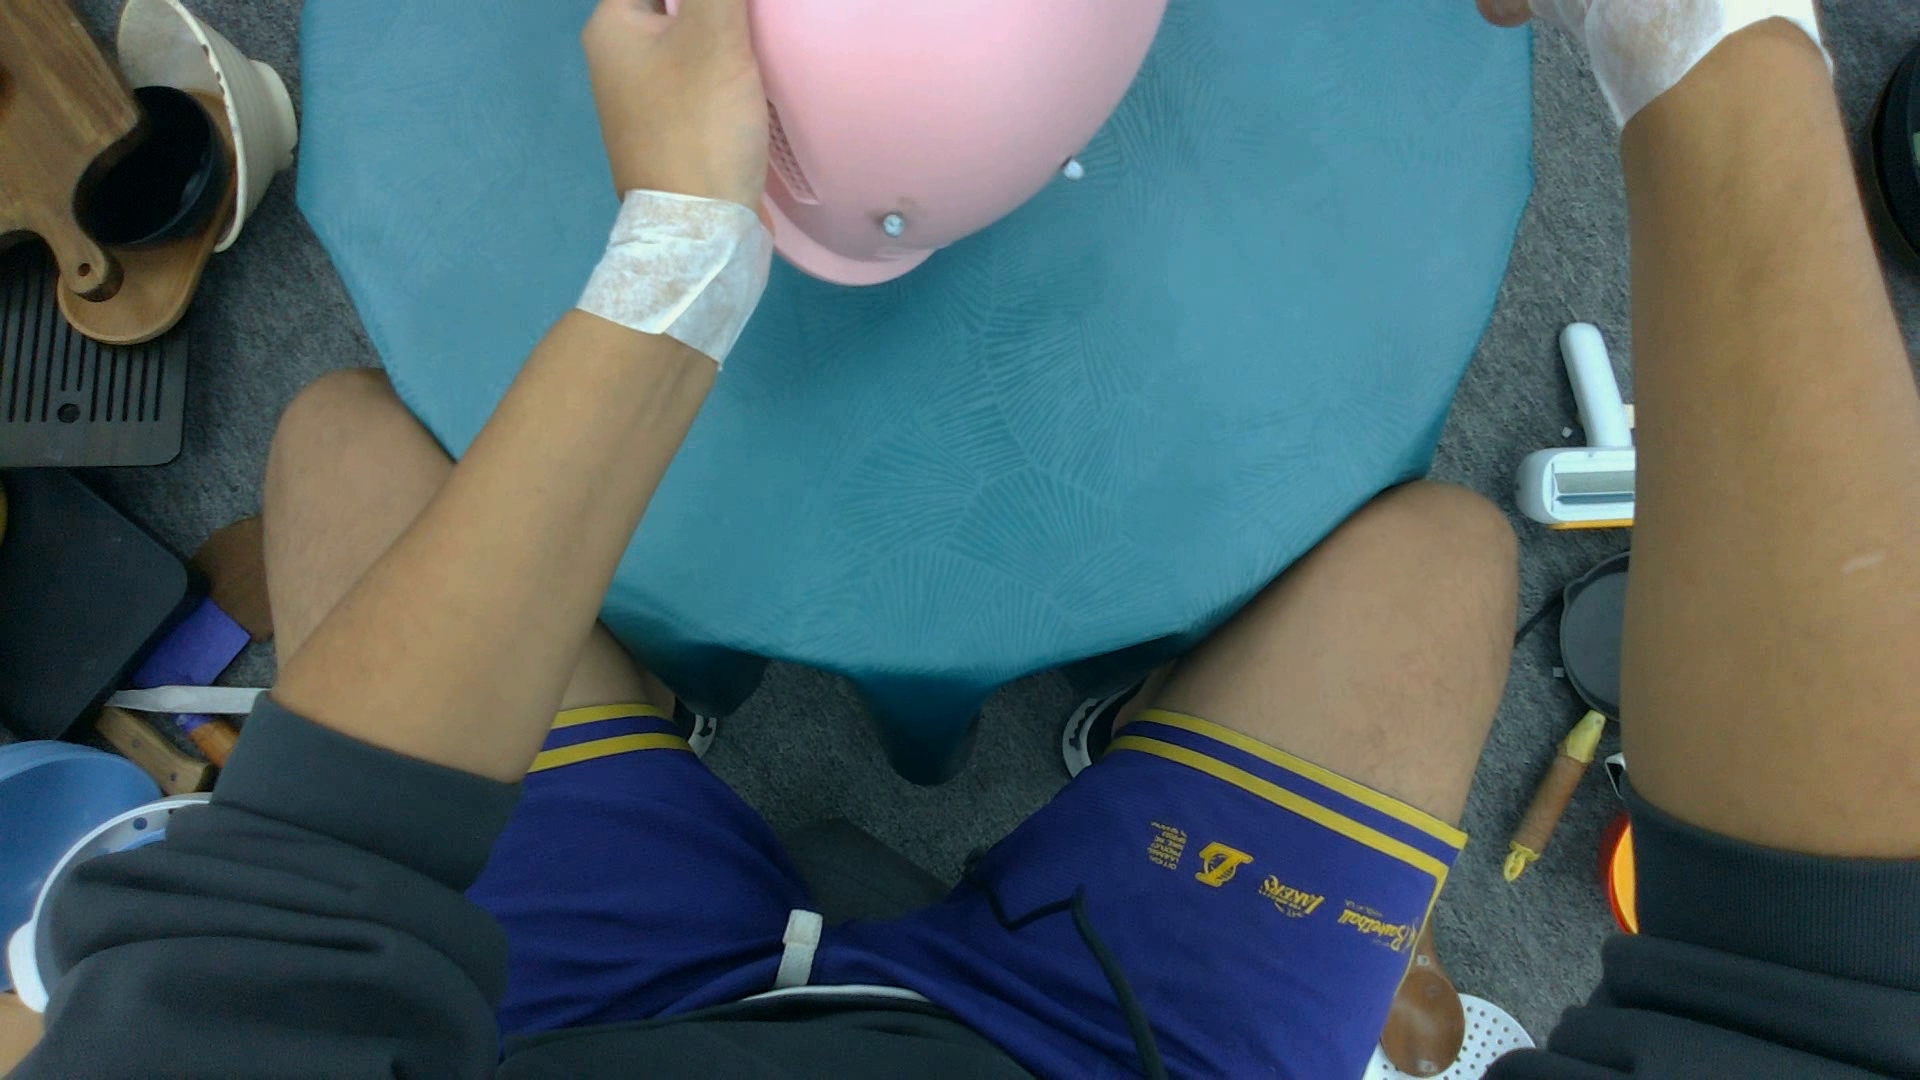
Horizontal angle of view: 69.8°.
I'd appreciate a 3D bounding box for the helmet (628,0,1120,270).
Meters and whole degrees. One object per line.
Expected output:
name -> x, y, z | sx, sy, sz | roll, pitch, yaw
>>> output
helmet -> -0.017, -0.246, 0.532 | 0.158, 0.234, 0.266 | -4, 76, 29
